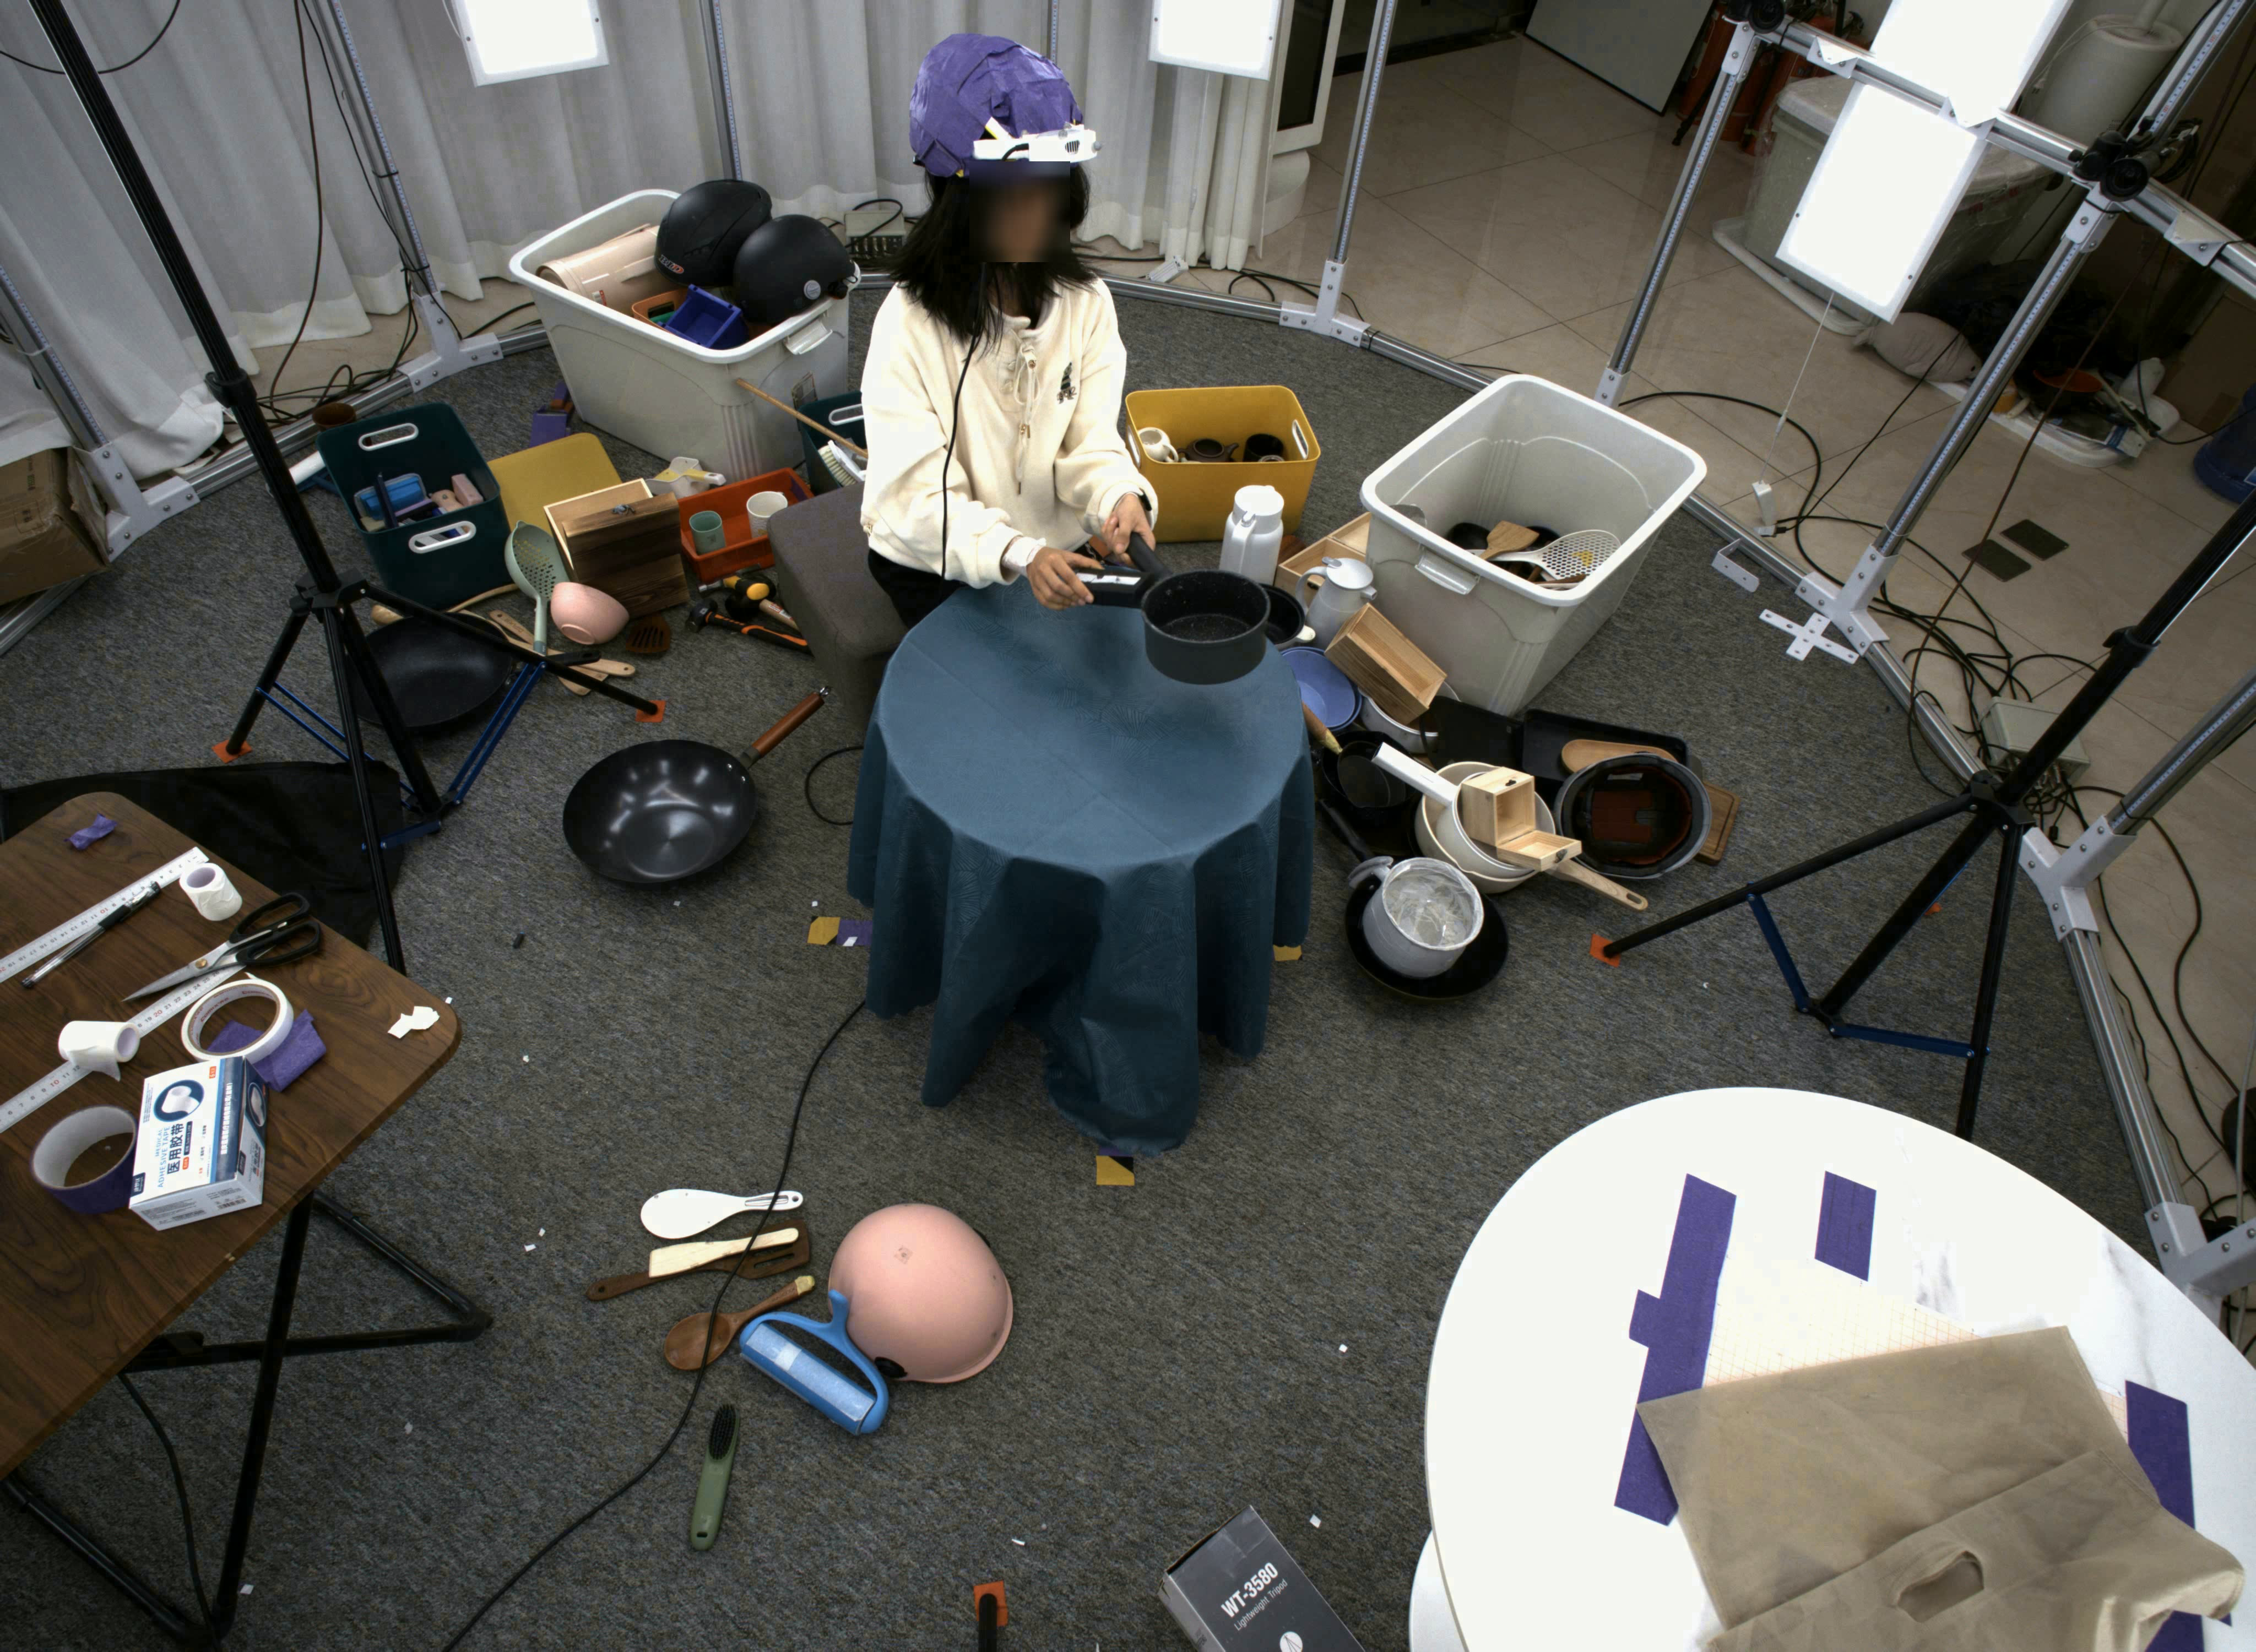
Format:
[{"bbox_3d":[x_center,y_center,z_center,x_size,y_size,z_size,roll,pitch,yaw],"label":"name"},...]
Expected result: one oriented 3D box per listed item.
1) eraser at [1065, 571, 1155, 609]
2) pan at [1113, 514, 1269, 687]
[{"bbox_3d":[-0.023,-0.327,1.777,0.126,0.030,0.054,11,47,38],"label":"eraser"},{"bbox_3d":[0.066,-0.316,1.773,0.172,0.084,0.336,-21,47,-17],"label":"pan"}]
